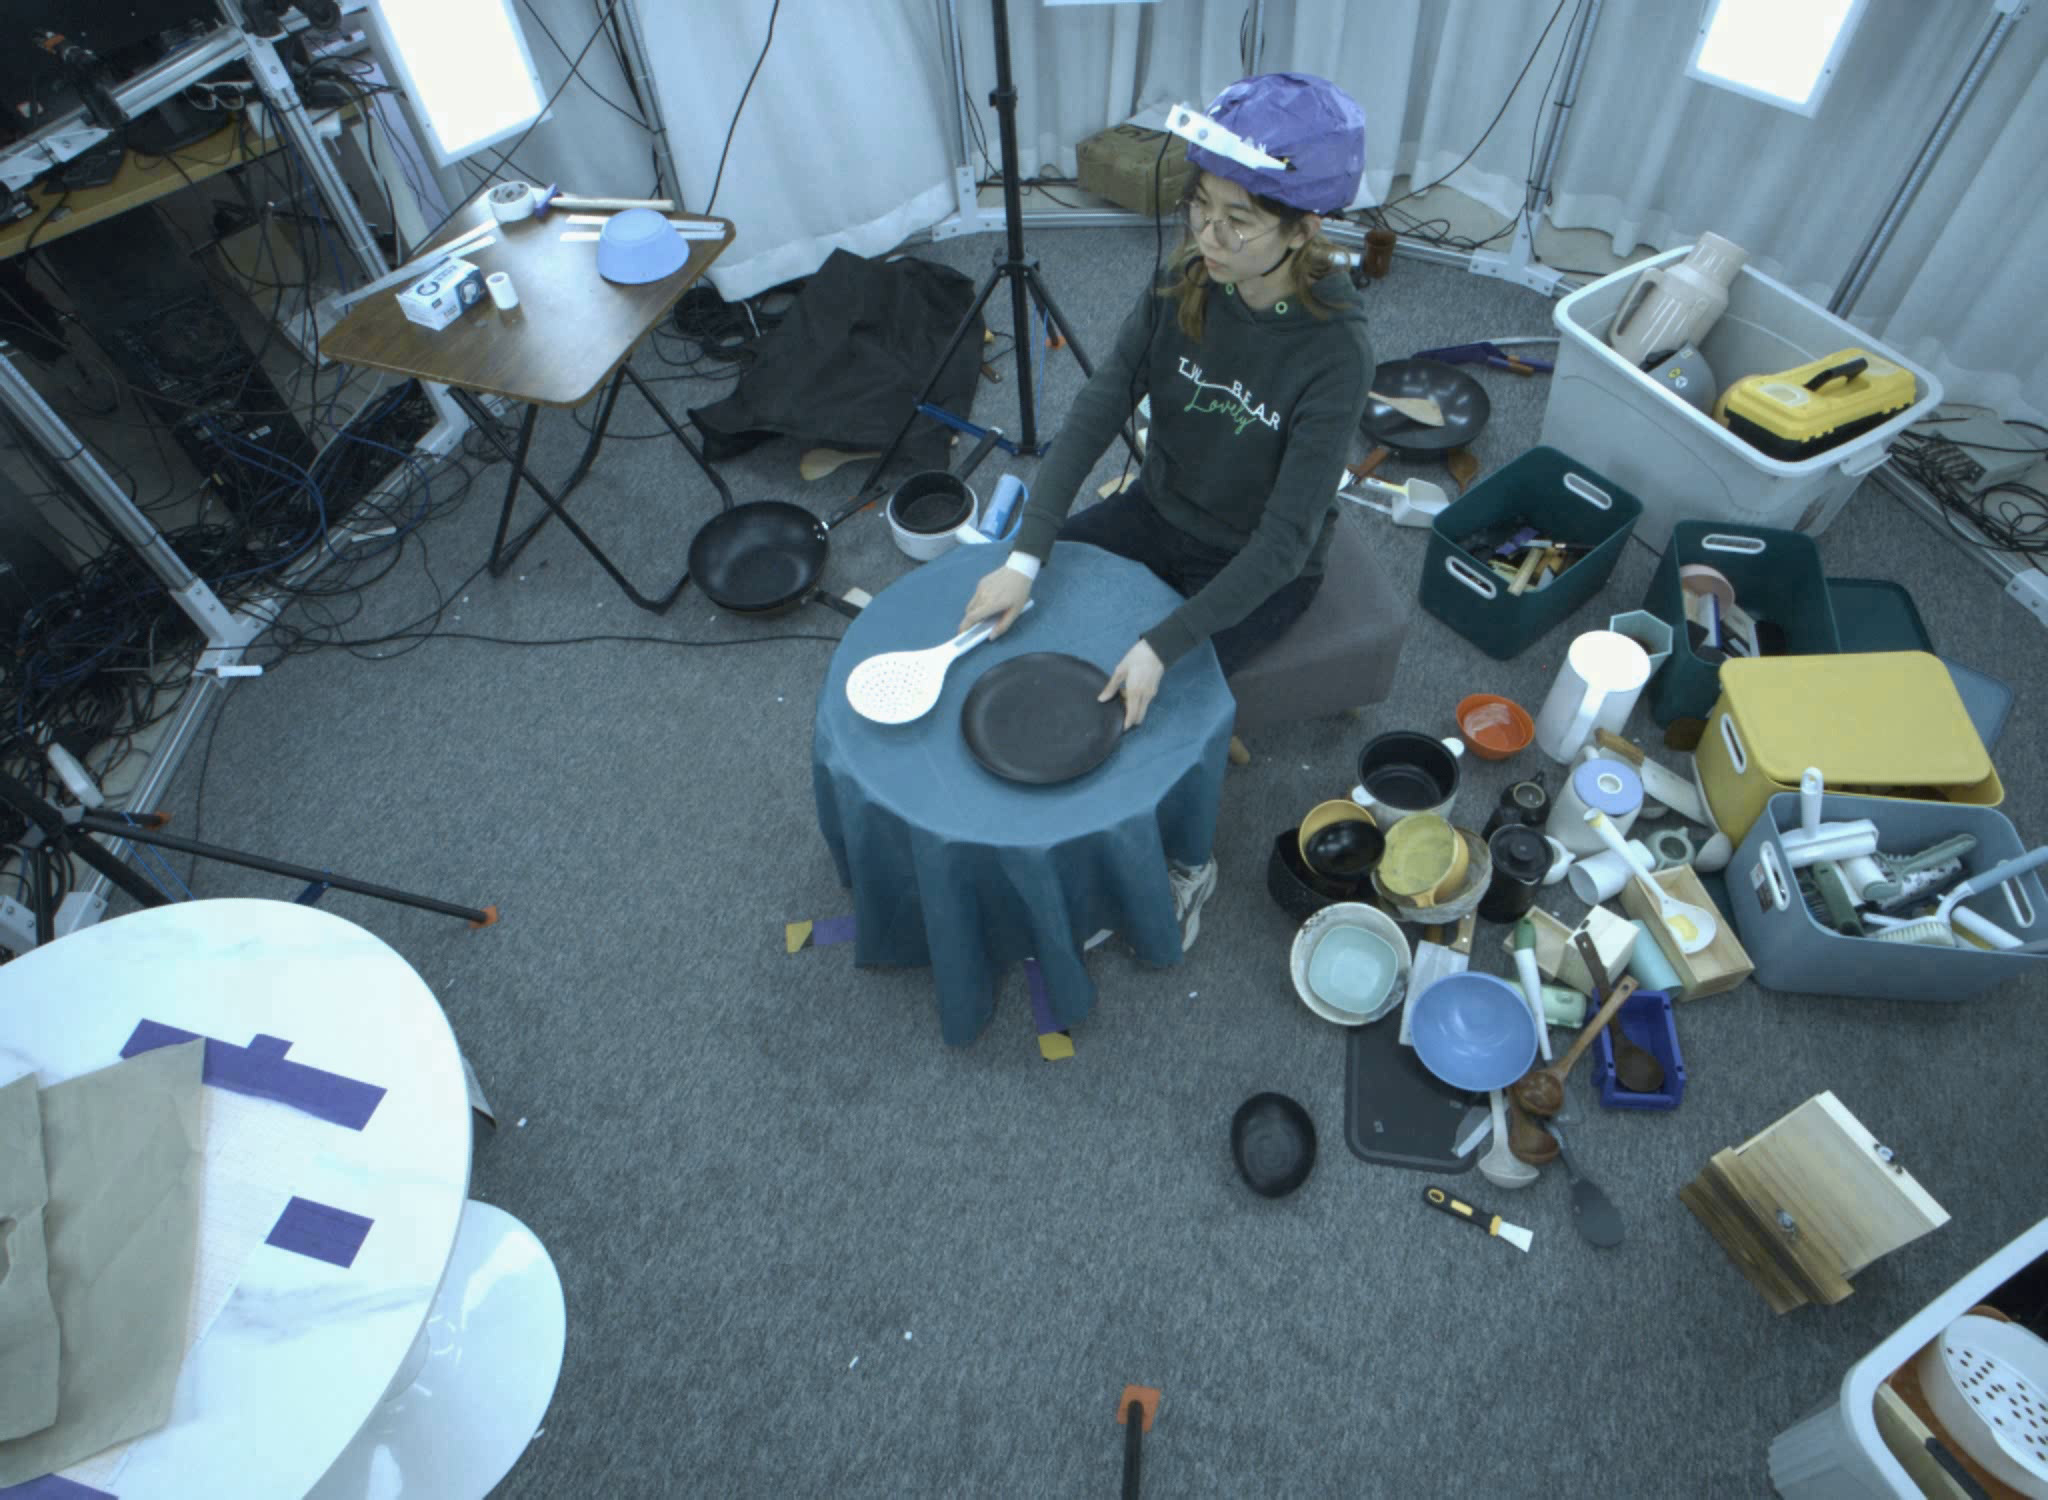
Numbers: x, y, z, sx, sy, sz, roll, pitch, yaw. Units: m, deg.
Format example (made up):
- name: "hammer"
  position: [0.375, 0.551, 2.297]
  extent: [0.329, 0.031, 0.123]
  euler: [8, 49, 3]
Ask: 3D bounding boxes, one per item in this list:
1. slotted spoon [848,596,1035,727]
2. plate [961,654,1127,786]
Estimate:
- name: "slotted spoon"
  position: [-0.116, -0.143, 1.874]
  extent: [0.352, 0.046, 0.134]
  euler: [-39, 67, -24]
- name: "plate"
  position: [0.030, -0.042, 1.811]
  extent: [0.244, 0.024, 0.242]
  euler: [-1, 55, 2]
